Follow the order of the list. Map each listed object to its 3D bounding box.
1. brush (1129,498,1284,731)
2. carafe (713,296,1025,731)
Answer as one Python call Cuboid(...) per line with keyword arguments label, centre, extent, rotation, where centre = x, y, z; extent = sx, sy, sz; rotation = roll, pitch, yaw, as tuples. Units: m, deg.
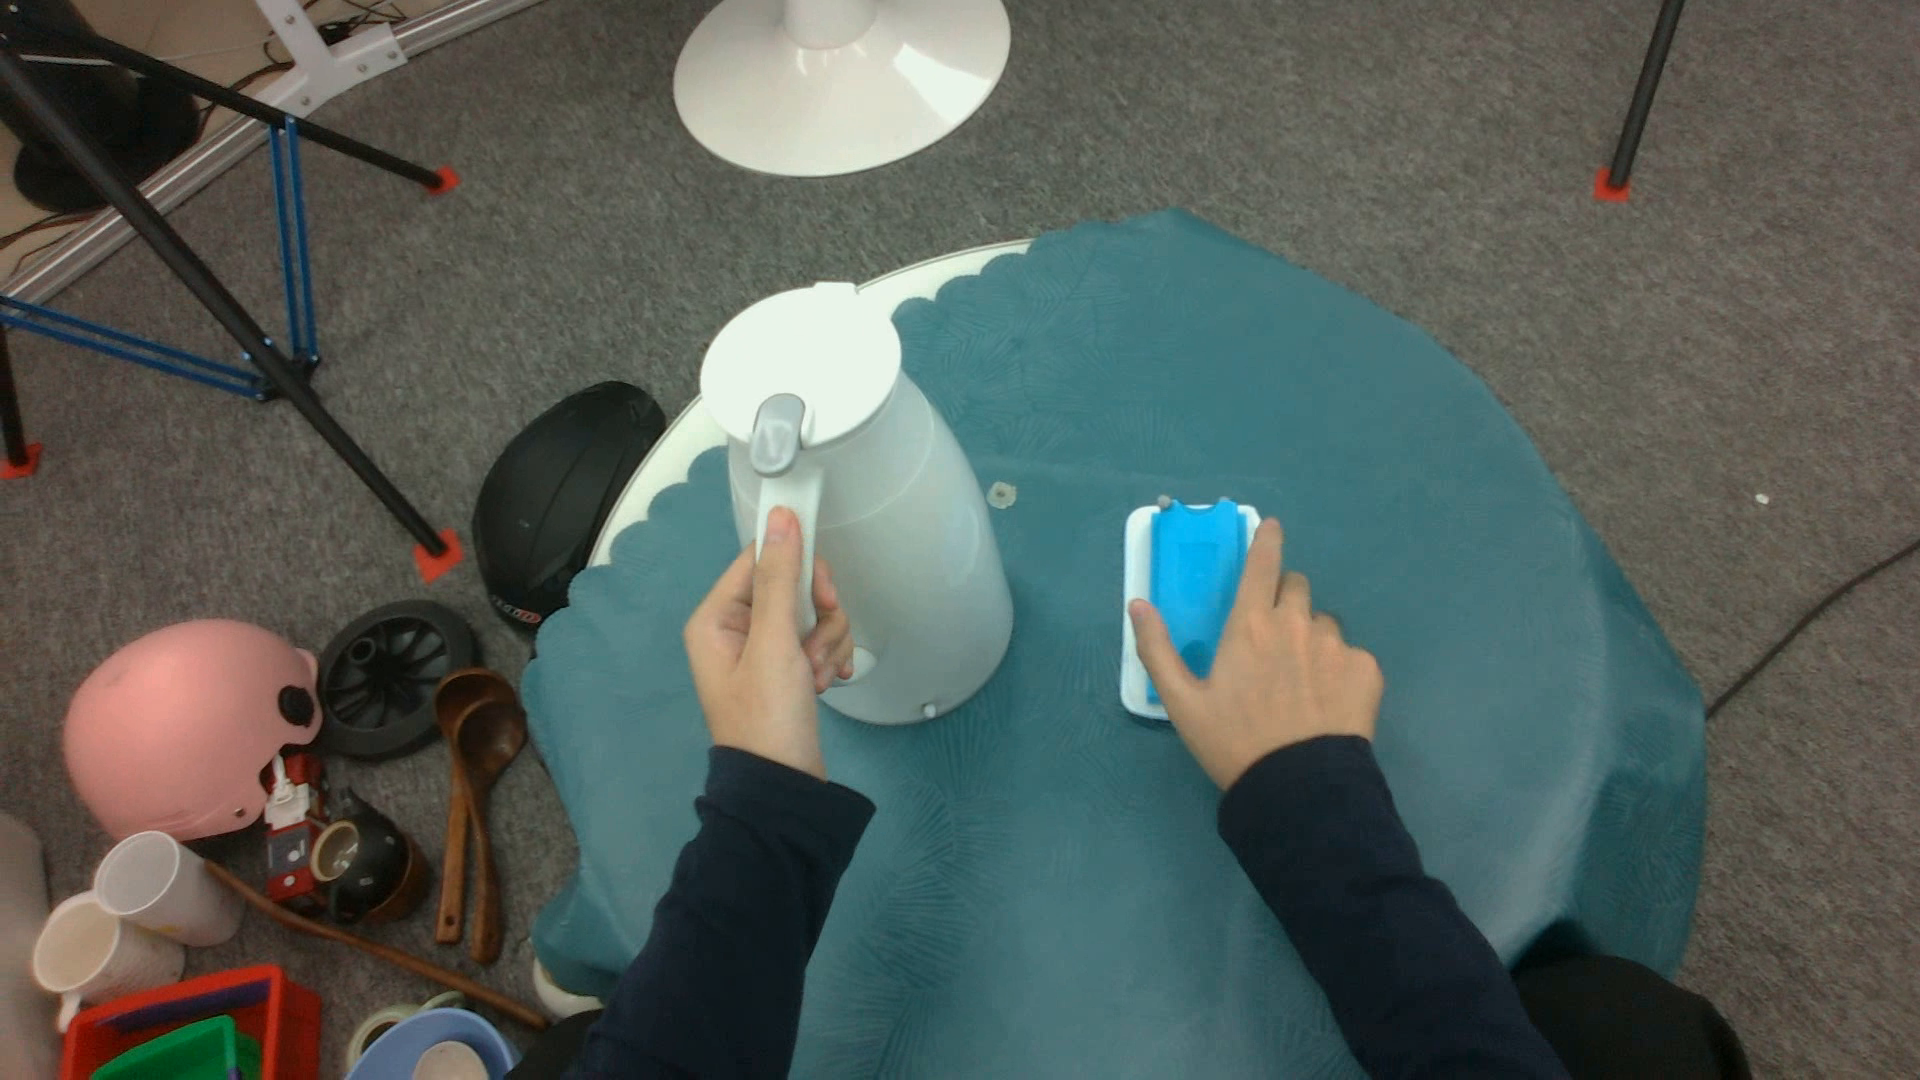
Cuboid(label="brush", centre=(0.137, 0.034, 0.765), extent=(0.084, 0.056, 0.144), rotation=(-1, 55, 15))
Cuboid(label="carafe", centre=(-0.049, 0.005, 0.708), extent=(0.132, 0.247, 0.168), rotation=(1, 59, 12))
